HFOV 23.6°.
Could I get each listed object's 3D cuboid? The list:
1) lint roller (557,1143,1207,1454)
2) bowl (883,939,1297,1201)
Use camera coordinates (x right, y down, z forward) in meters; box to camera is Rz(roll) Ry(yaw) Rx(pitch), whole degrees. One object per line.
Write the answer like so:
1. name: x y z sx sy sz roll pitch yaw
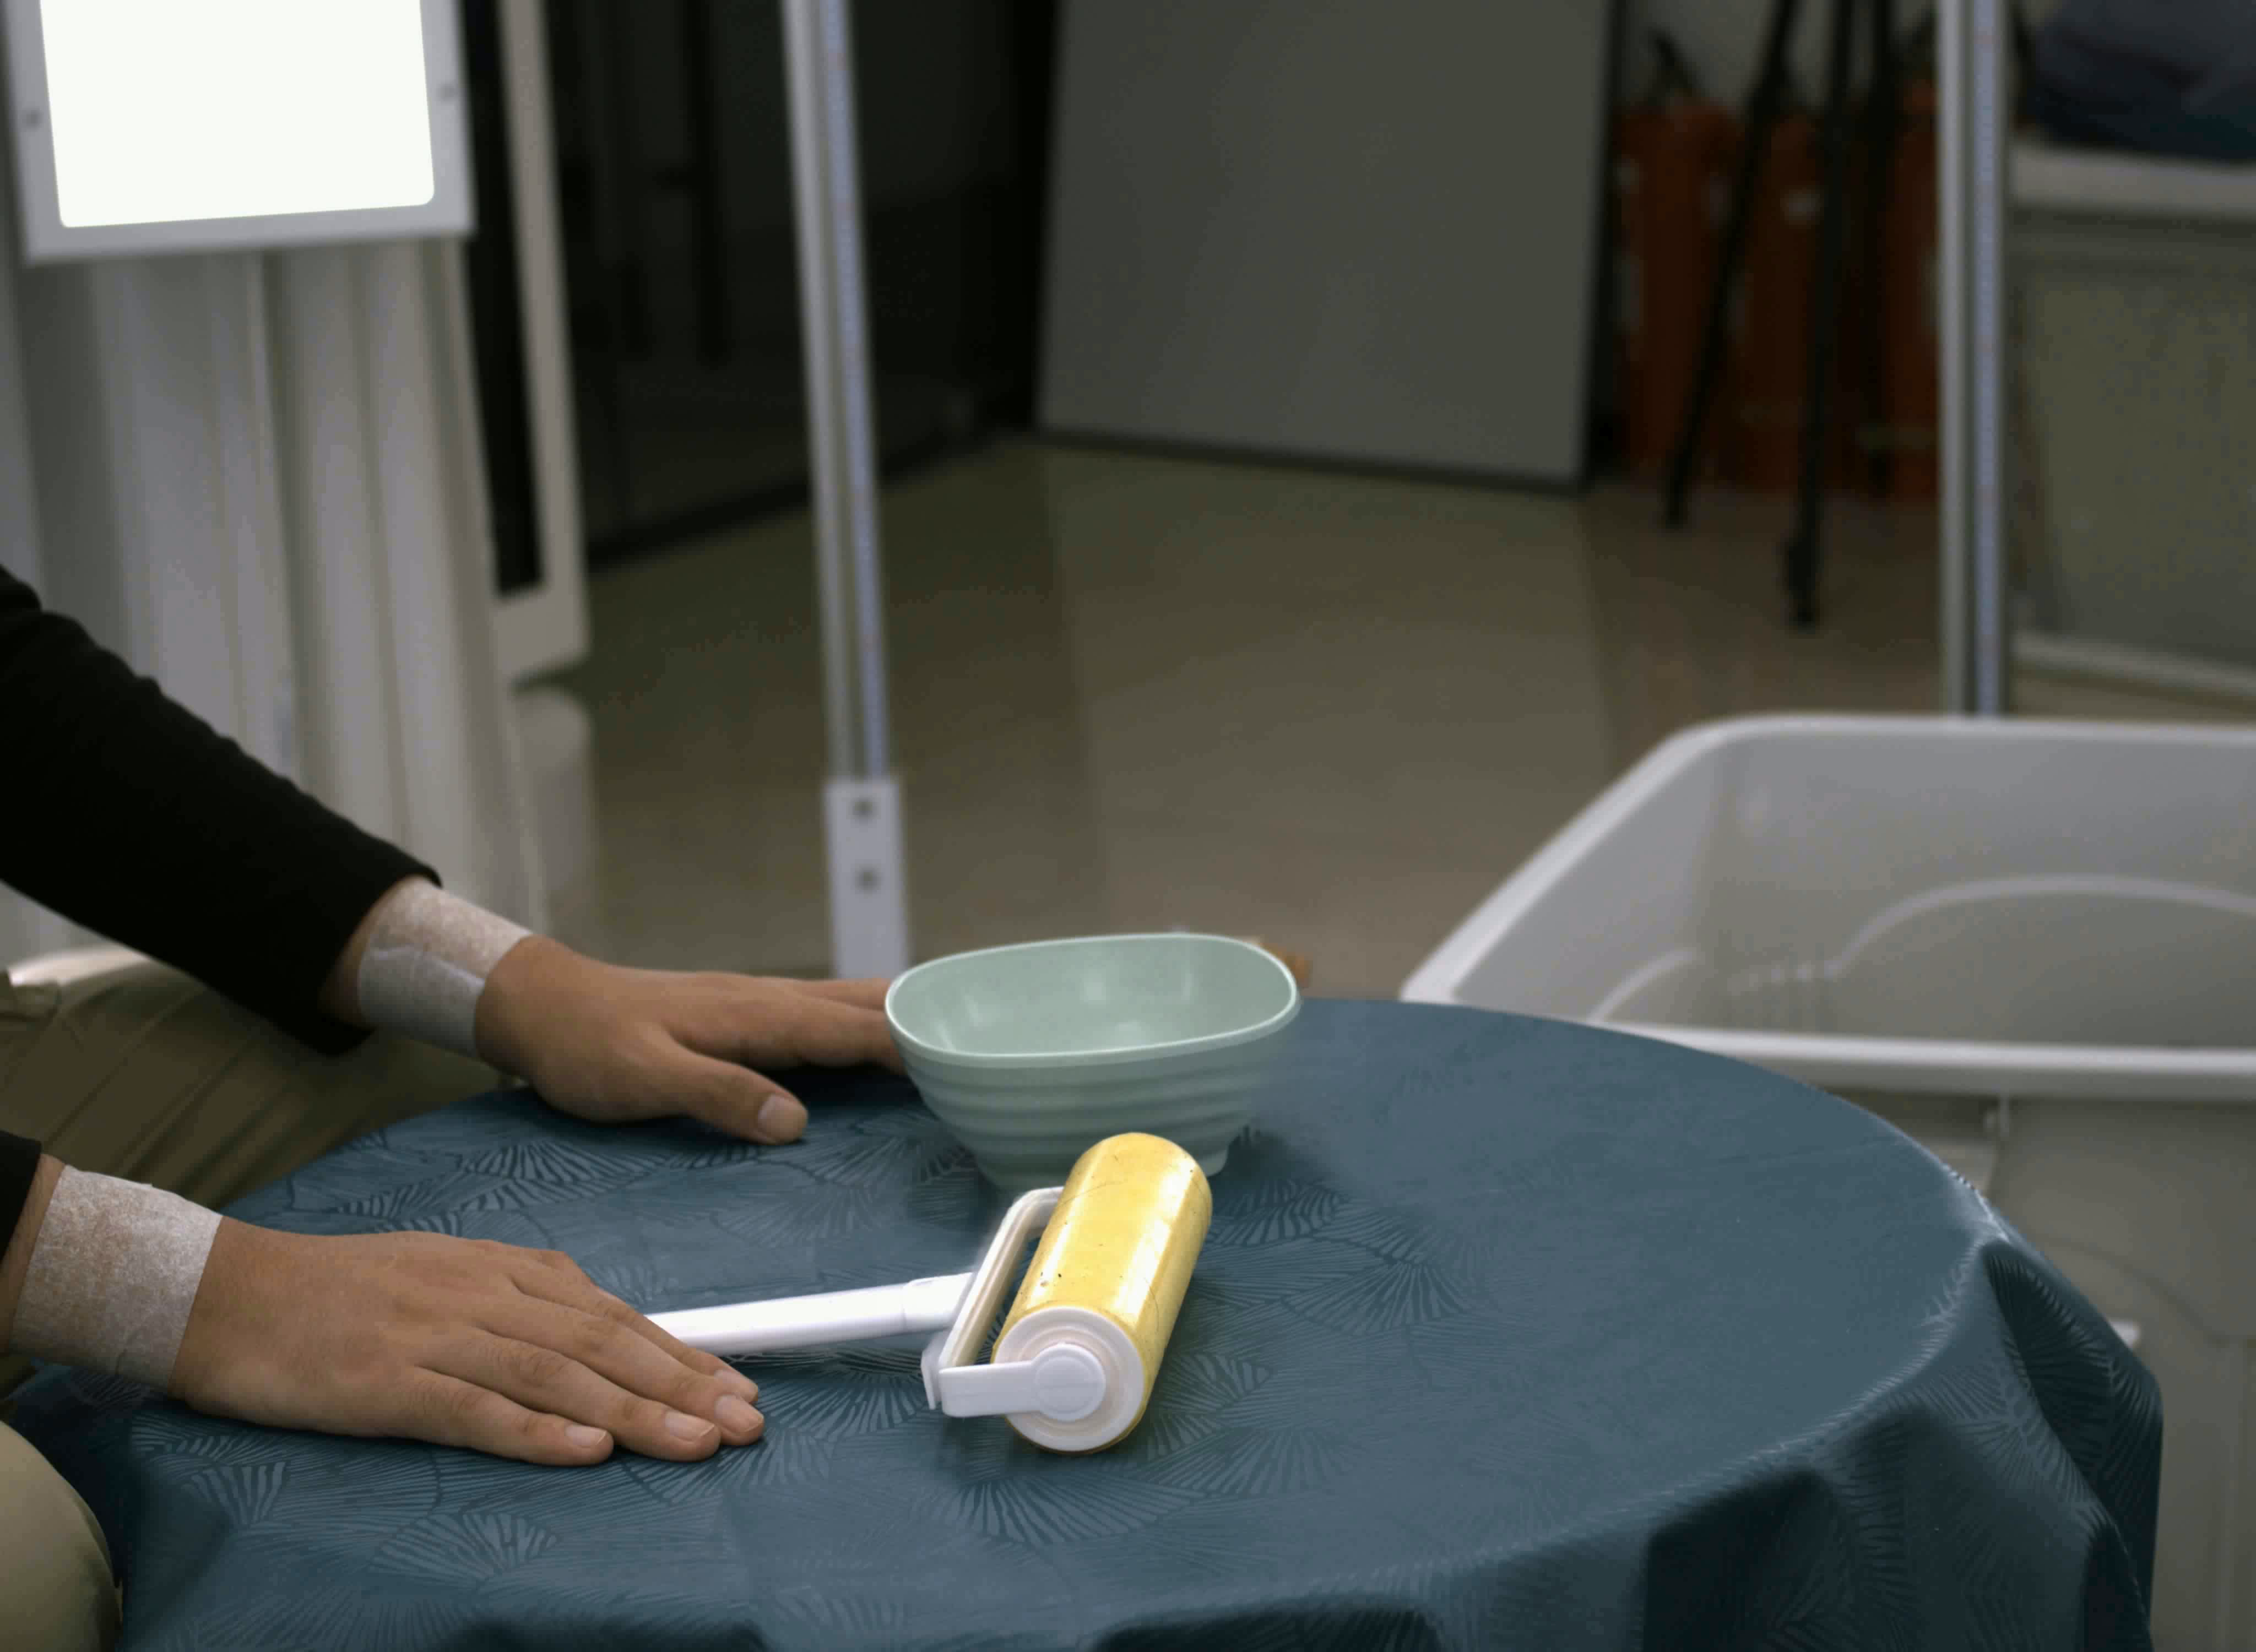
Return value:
1. lint roller: -0.077 0.138 1.615 0.190 0.052 0.174 2 13 6
2. bowl: -0.012 0.084 1.804 0.149 0.059 0.152 -2 14 0
